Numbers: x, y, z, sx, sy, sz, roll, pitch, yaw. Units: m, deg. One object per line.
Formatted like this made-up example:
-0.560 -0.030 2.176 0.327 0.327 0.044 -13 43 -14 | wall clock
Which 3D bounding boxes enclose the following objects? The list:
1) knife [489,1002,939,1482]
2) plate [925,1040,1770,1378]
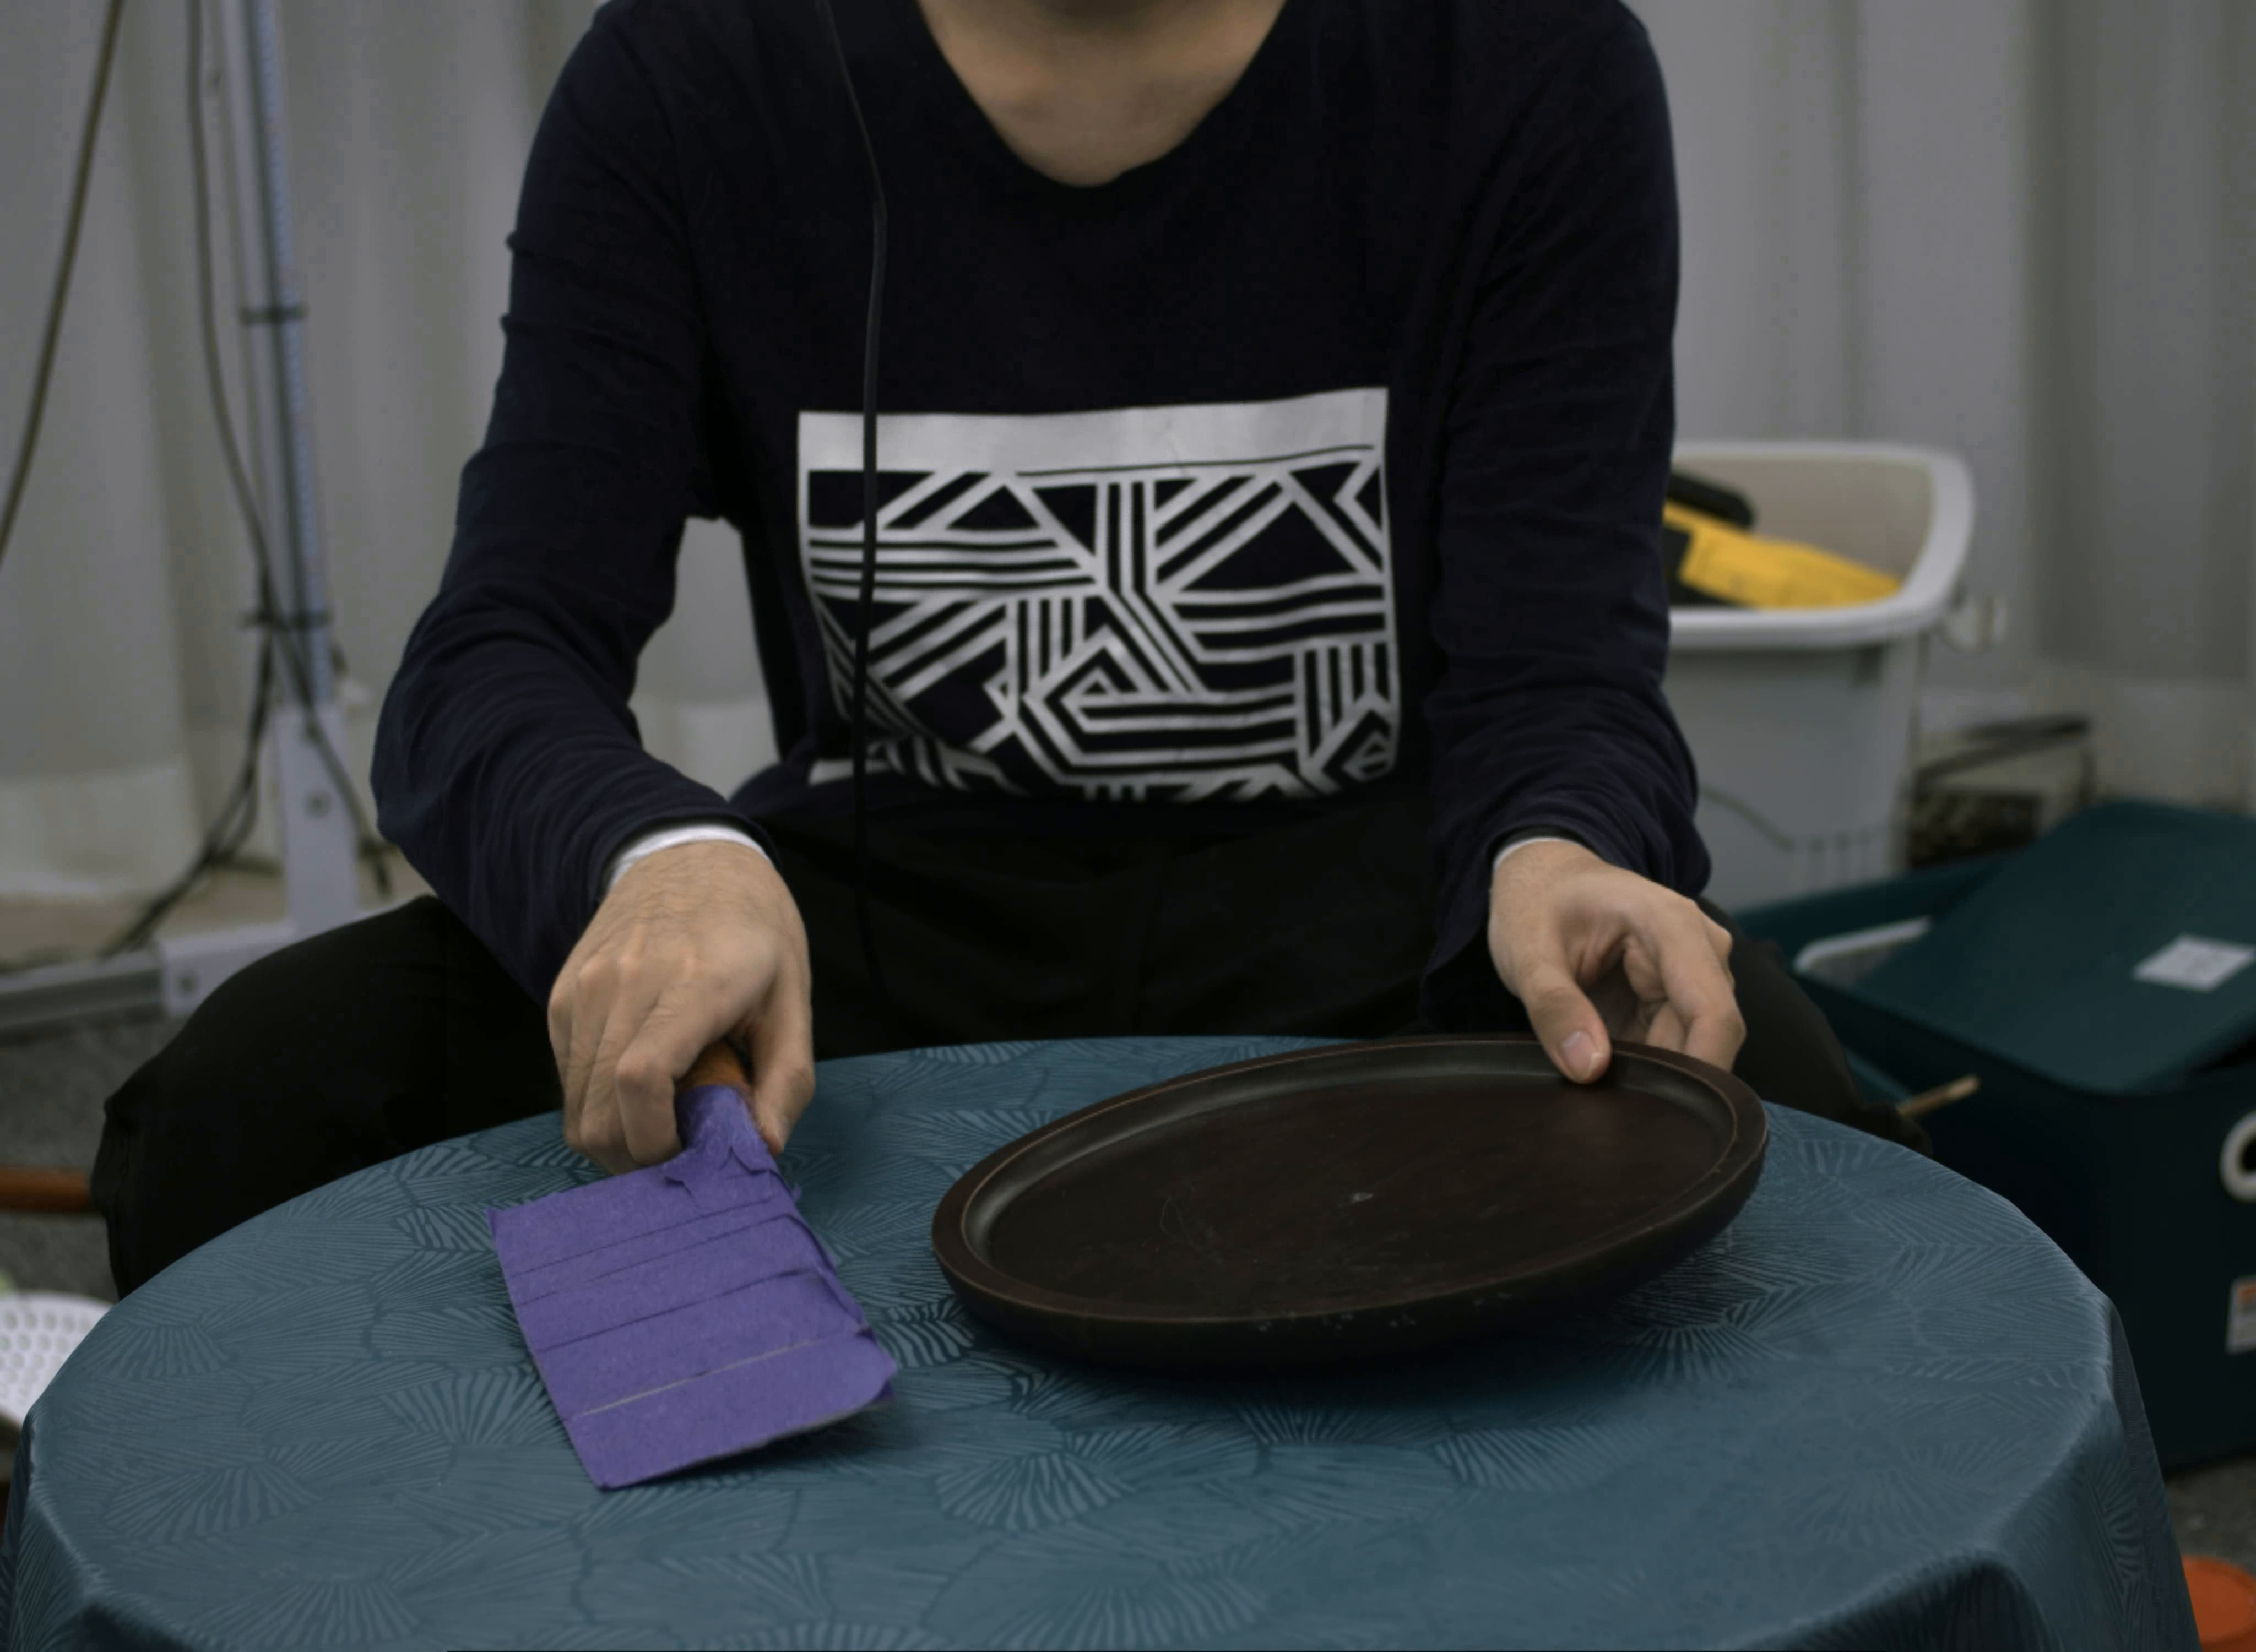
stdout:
-0.141 0.120 1.638 0.103 0.032 0.318 -13 18 -12 | knife
0.065 0.111 1.630 0.254 0.029 0.256 -9 15 2 | plate
